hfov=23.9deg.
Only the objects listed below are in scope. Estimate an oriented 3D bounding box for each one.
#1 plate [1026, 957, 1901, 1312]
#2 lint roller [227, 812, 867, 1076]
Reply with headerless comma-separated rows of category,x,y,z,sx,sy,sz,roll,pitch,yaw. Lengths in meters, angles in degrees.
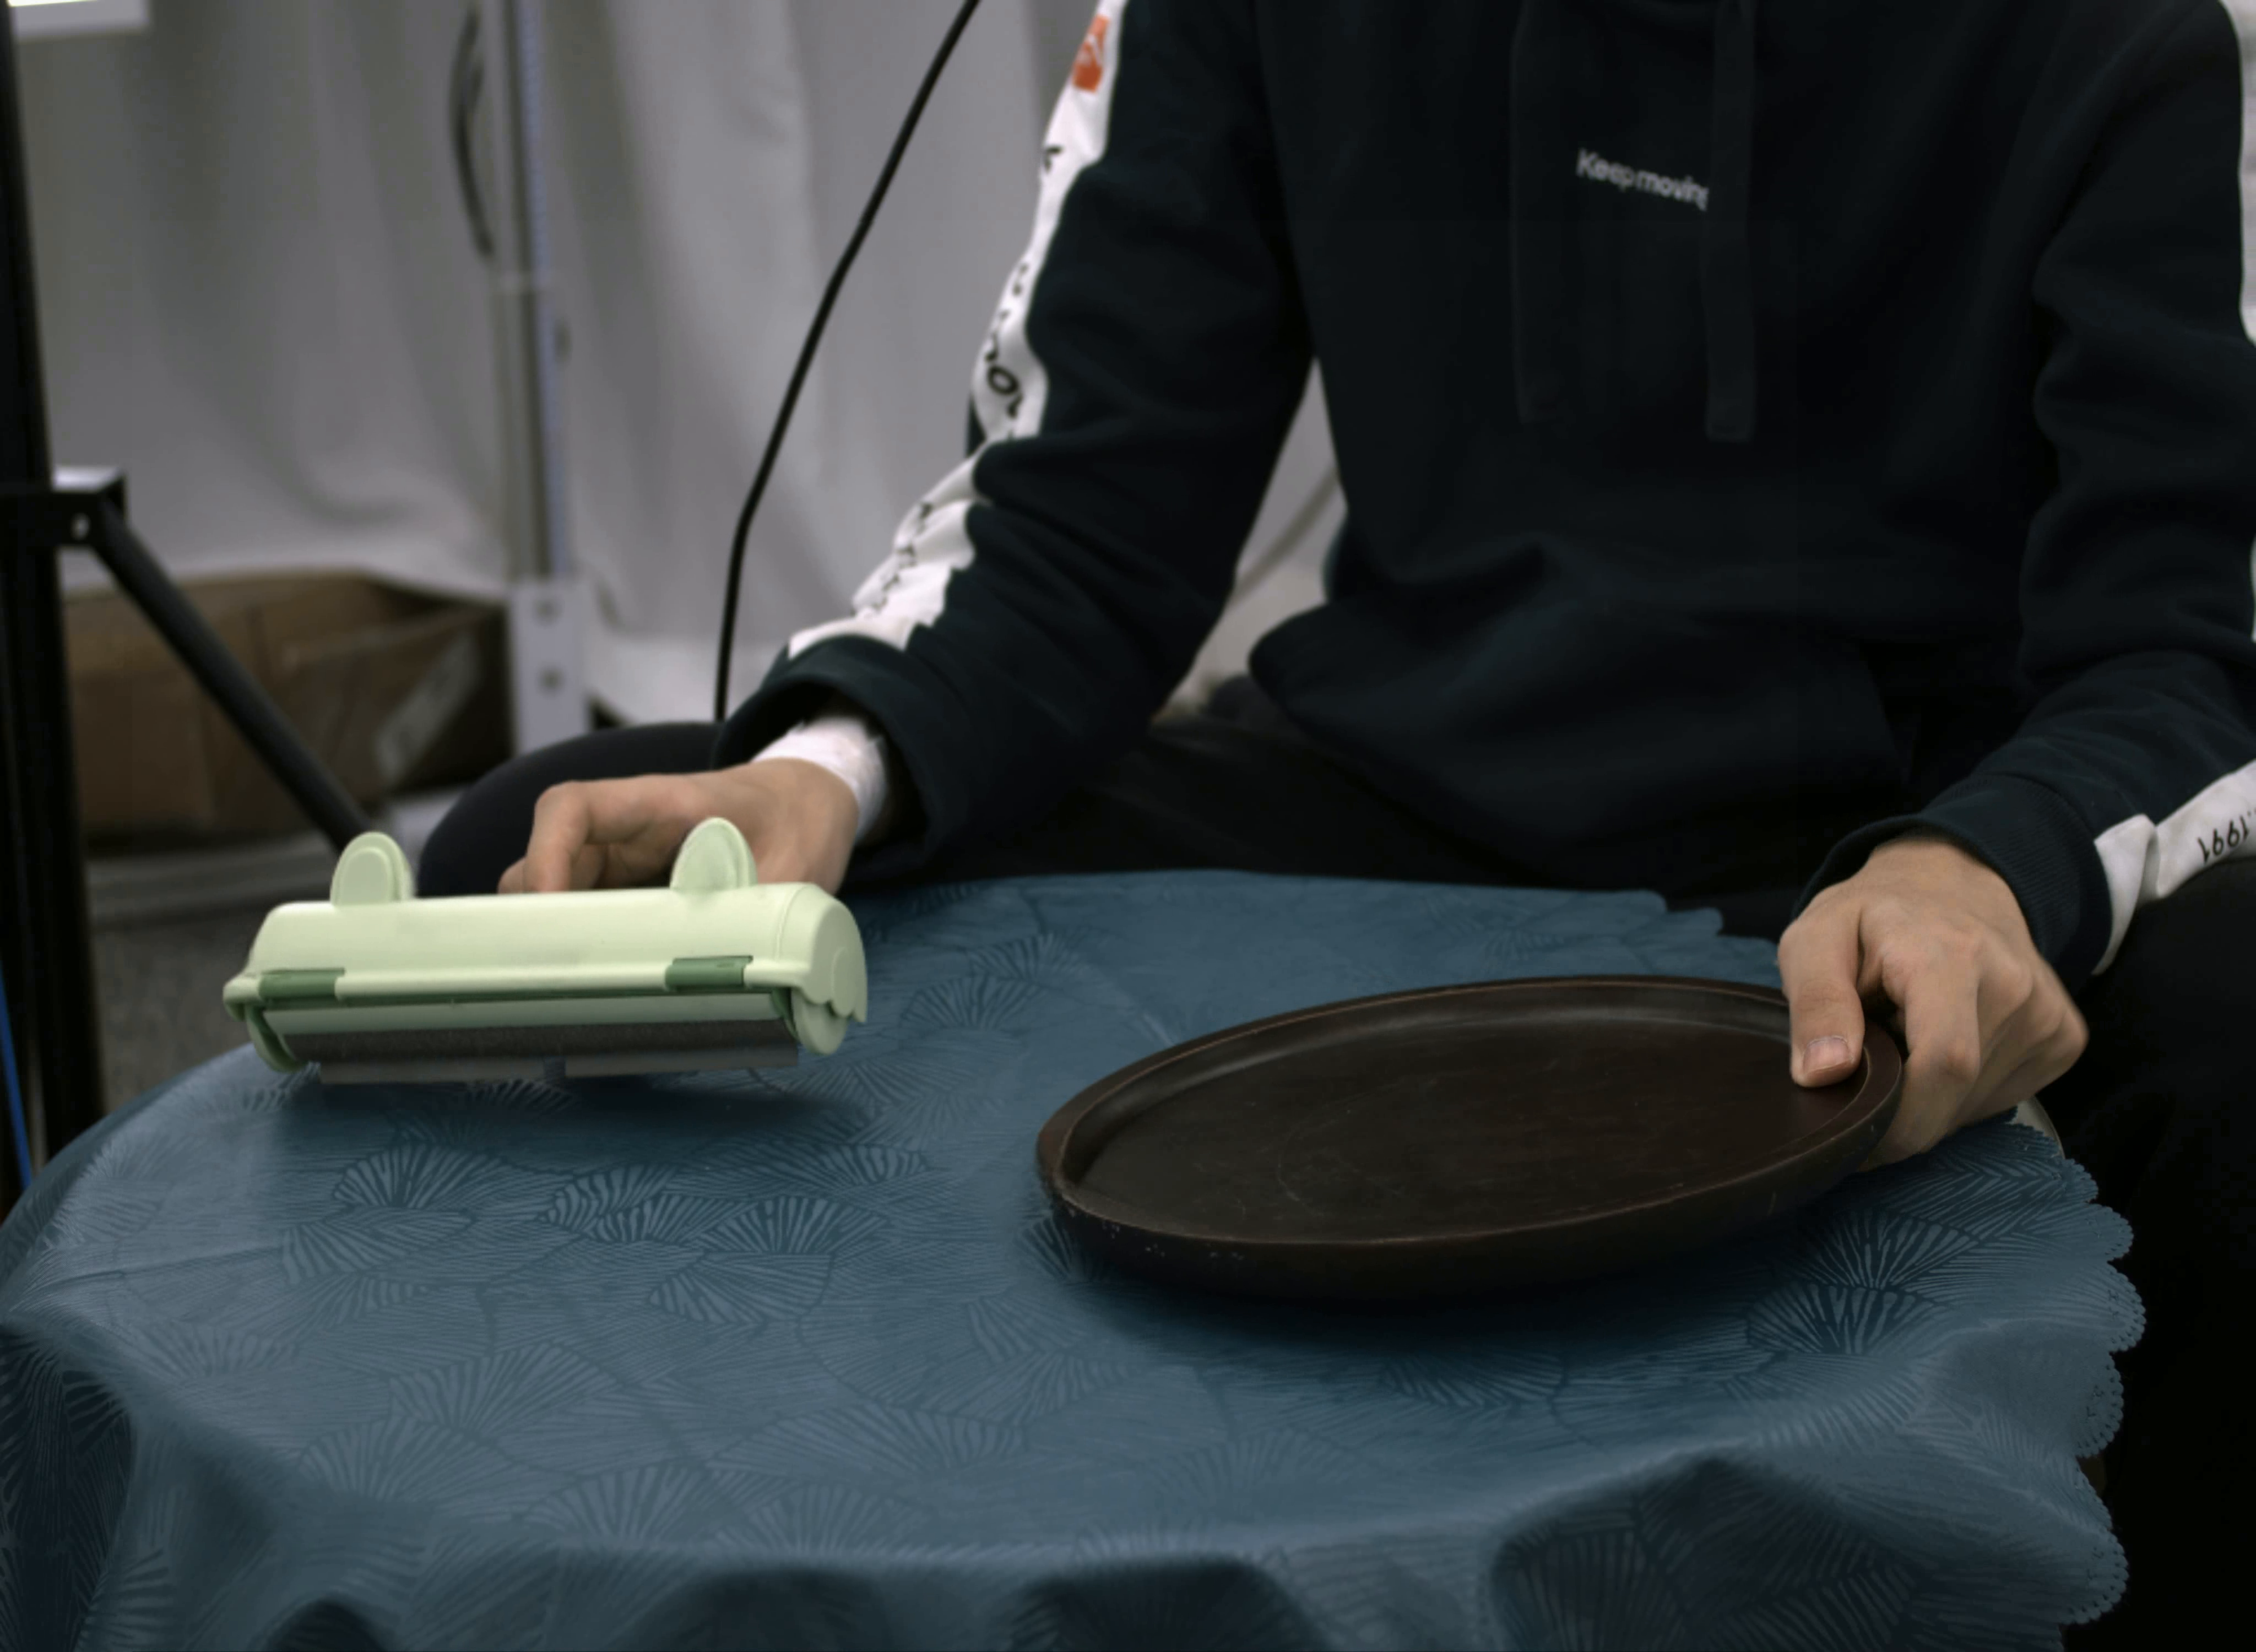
plate,0.097,0.089,1.525,0.254,0.029,0.256,-9,14,1
lint roller,-0.166,0.025,1.712,0.201,0.082,0.181,-3,16,19
